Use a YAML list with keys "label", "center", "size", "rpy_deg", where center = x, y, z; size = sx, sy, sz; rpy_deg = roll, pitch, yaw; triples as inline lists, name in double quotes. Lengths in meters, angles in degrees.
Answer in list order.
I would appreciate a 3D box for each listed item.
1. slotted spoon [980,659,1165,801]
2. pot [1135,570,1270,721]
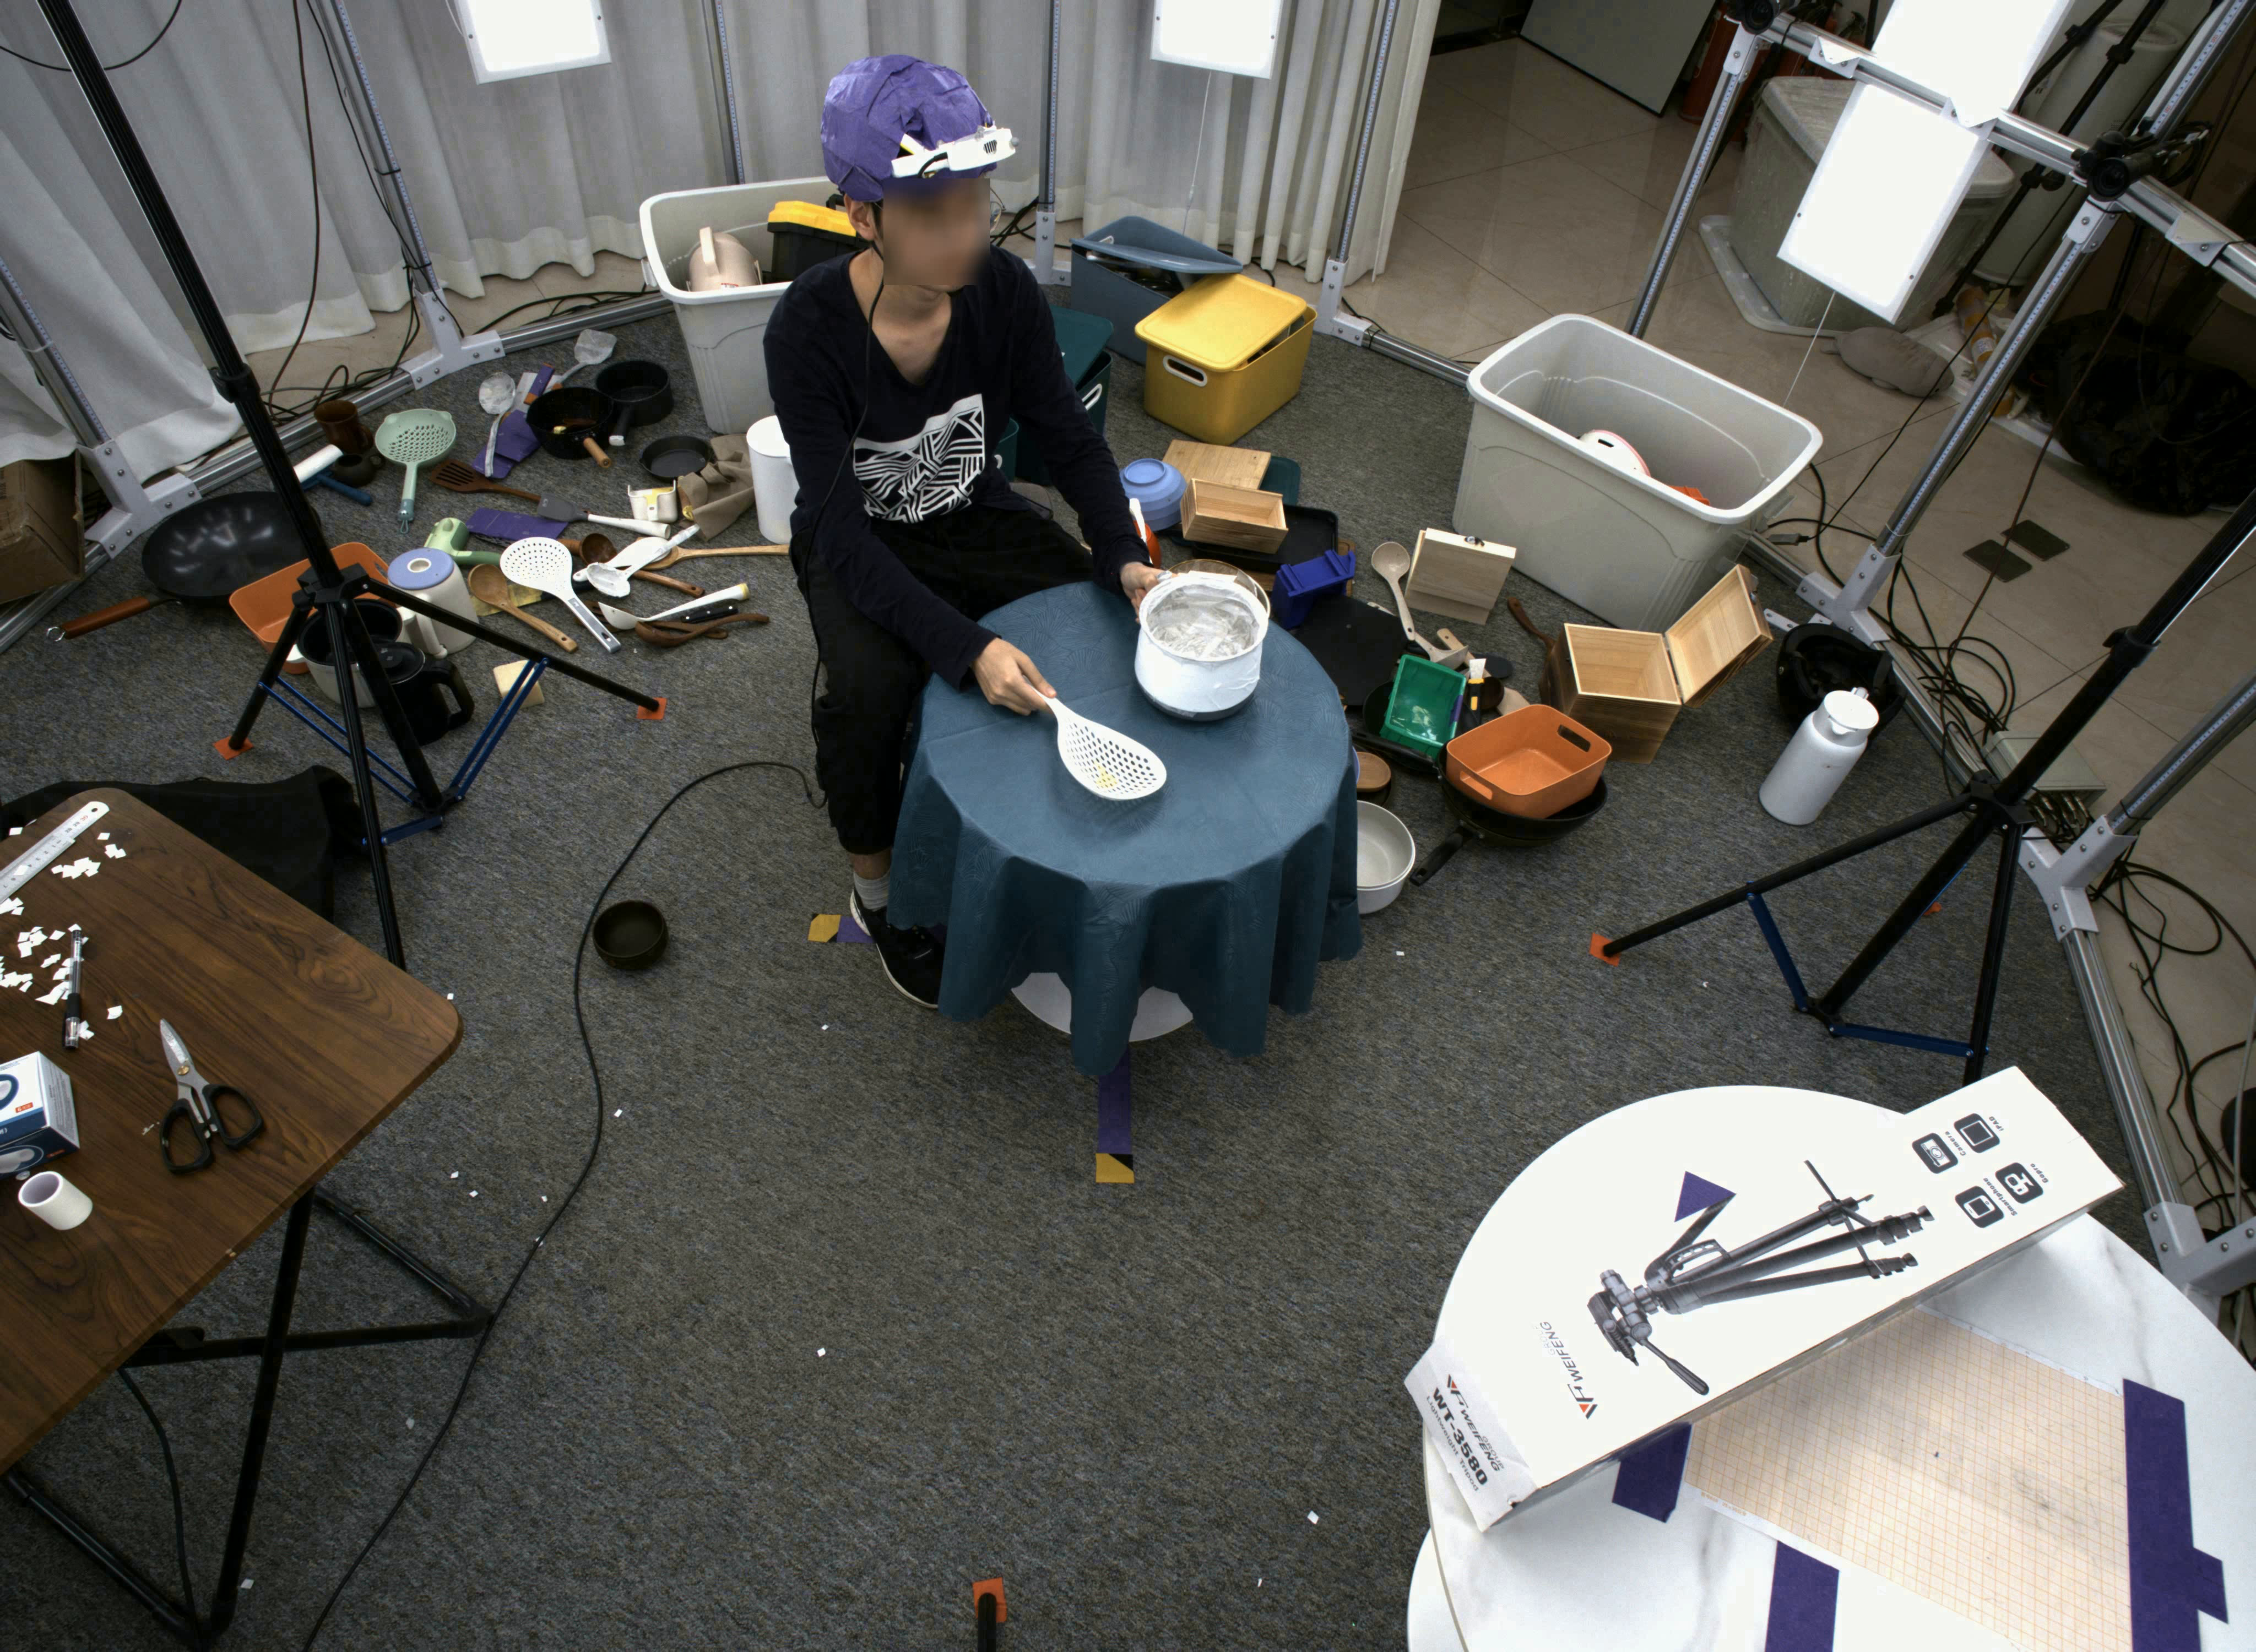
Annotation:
- label: "slotted spoon"
  center: [-0.090, -0.141, 1.748]
  size: [0.137, 0.049, 0.354]
  rpy_deg: [-20, 55, -35]
- label: "pot"
  center: [0.086, -0.264, 1.814]
  size: [0.179, 0.133, 0.238]
  rpy_deg: [-21, 54, -24]
